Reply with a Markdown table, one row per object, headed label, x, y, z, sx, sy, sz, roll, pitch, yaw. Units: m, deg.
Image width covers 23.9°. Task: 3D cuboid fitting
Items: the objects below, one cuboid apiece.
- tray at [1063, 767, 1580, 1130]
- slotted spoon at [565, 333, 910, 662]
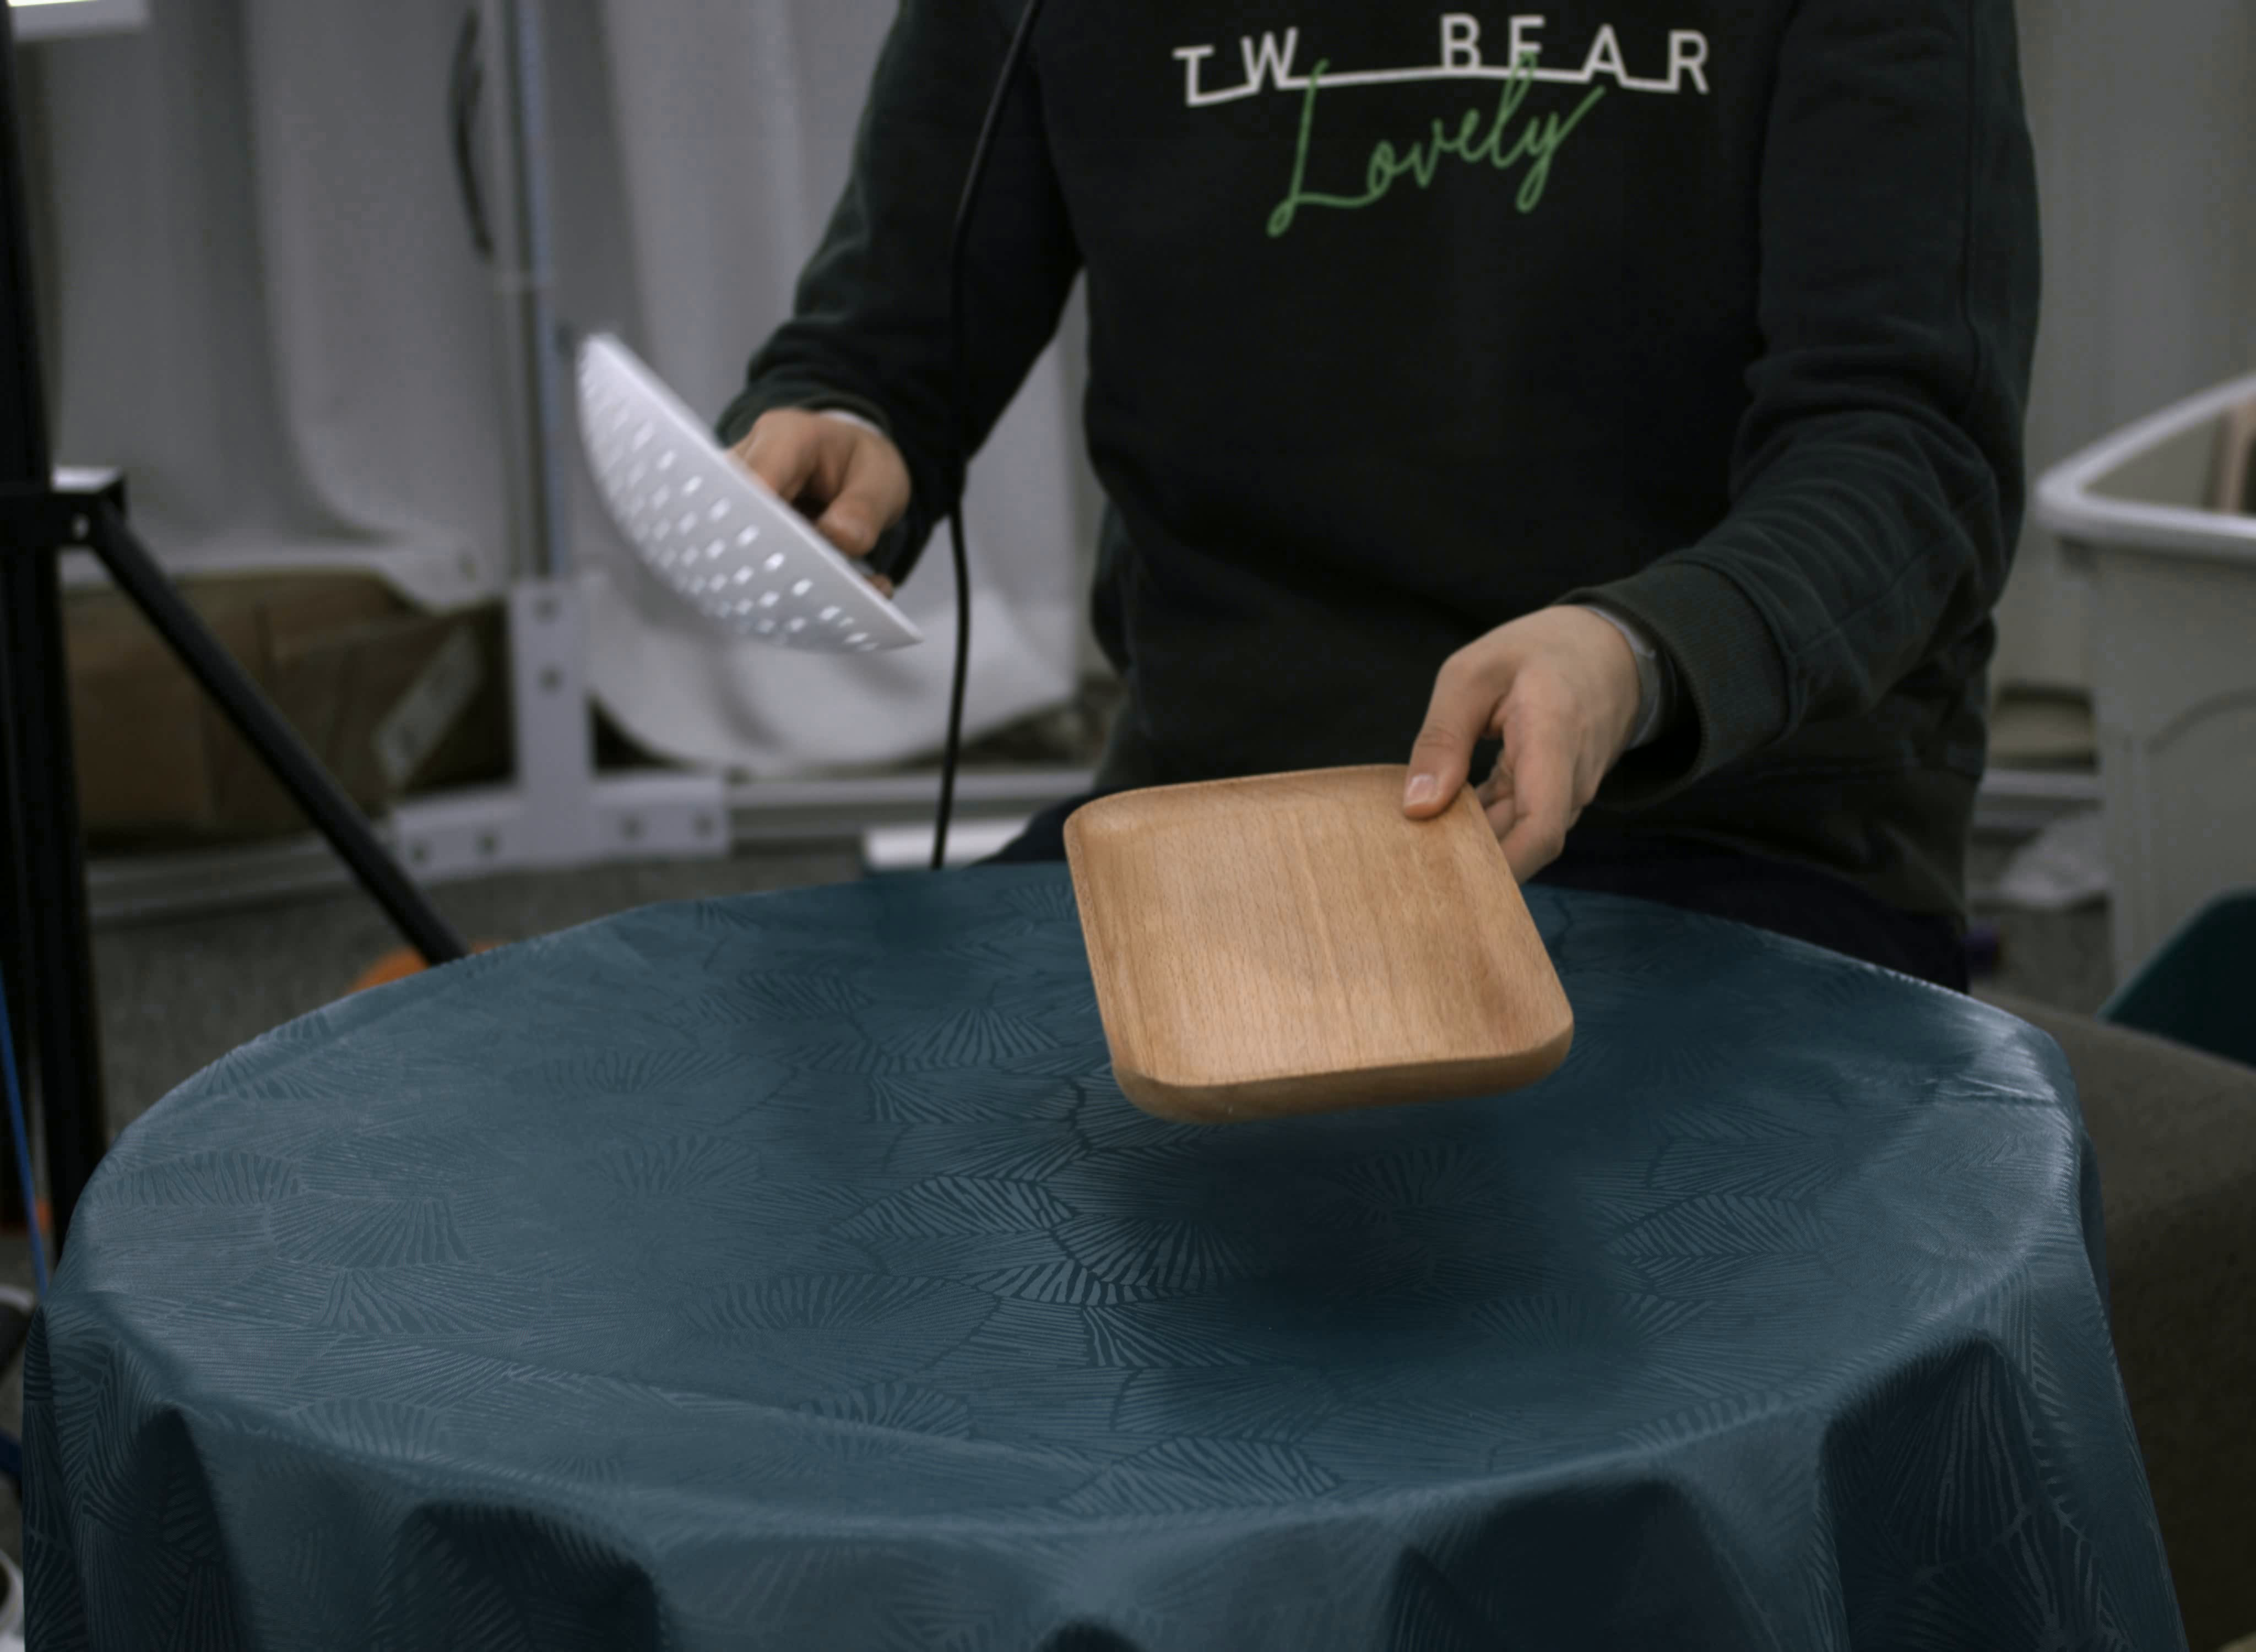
| label | x | y | z | sx | sy | sz | roll | pitch | yaw |
| --- | --- | --- | --- | --- | --- | --- | --- | --- | --- |
| tray | 0.052 | 0.032 | 1.531 | 0.130 | 0.023 | 0.252 | -4 | 18 | -2 |
| slotted spoon | -0.112 | -0.090 | 1.688 | 0.136 | 0.046 | 0.347 | 43 | 6 | 4 |
